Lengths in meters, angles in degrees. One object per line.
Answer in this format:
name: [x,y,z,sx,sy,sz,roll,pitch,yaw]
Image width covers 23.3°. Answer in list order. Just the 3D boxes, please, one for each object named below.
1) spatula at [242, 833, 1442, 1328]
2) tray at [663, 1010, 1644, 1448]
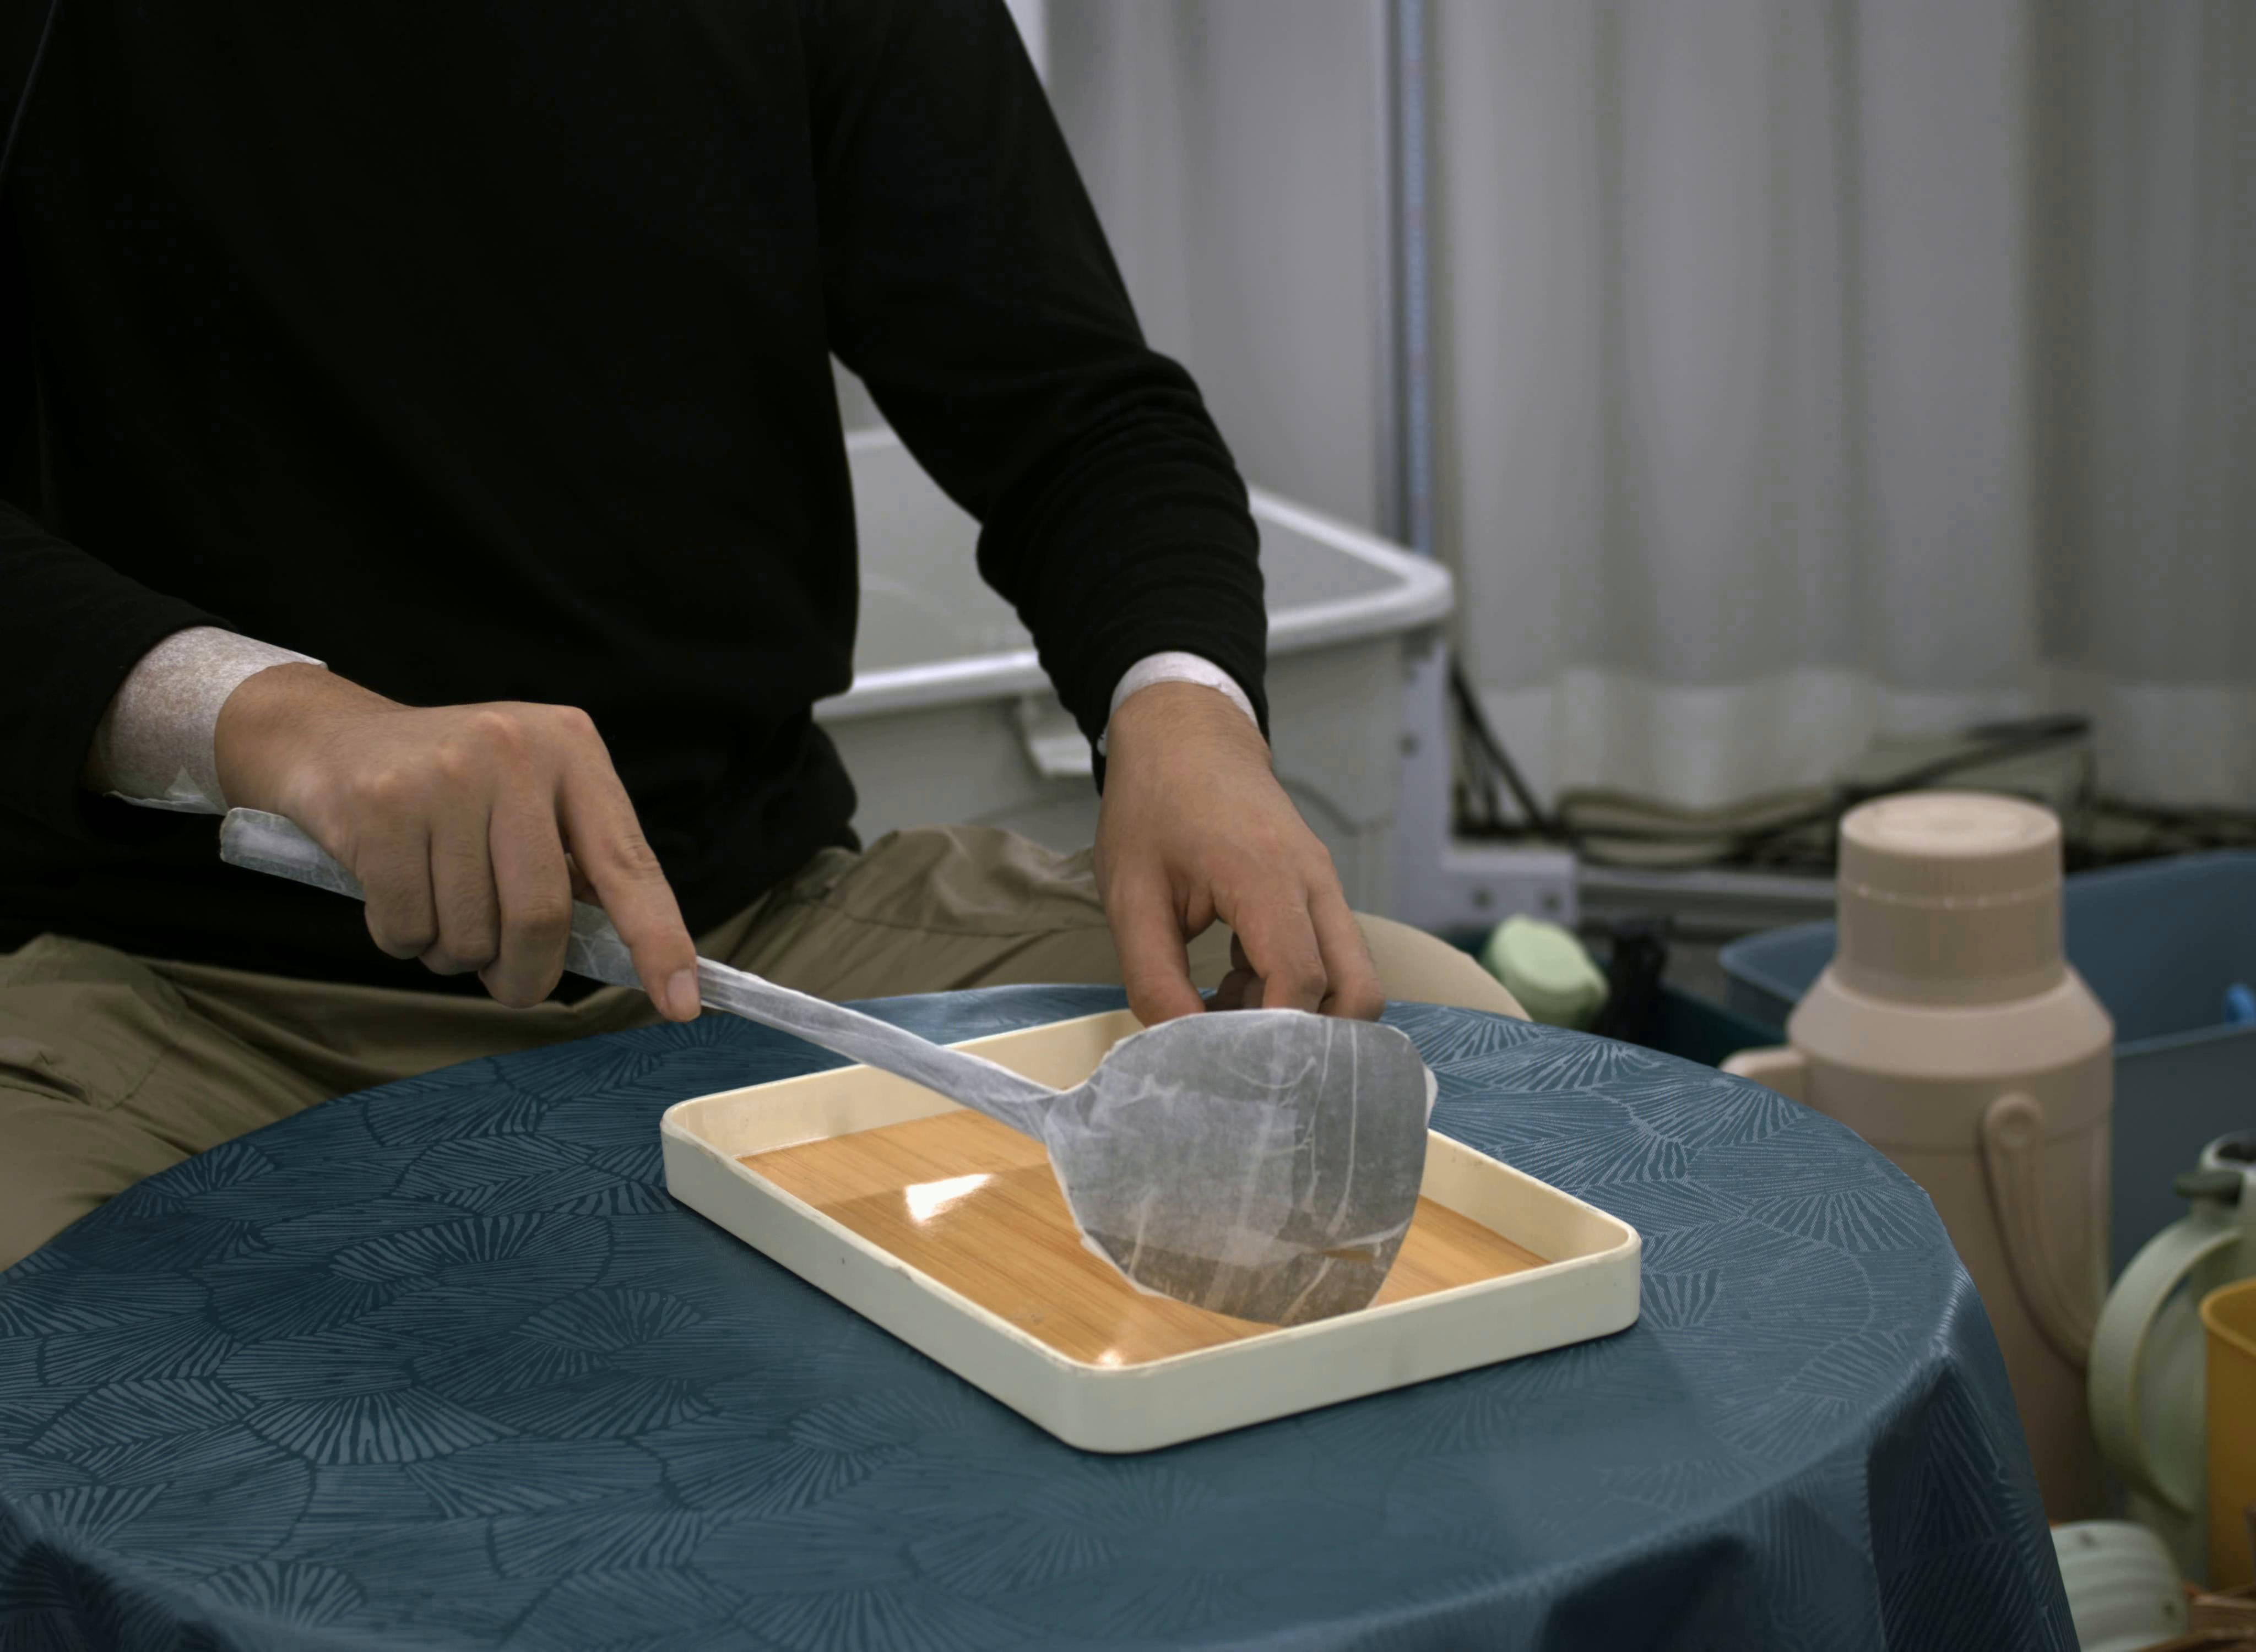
spatula: [-0.087,0.056,1.586,0.366,0.098,0.045,19,20,16]
tray: [0.001,0.117,1.654,0.191,0.027,0.302,-11,16,-27]
